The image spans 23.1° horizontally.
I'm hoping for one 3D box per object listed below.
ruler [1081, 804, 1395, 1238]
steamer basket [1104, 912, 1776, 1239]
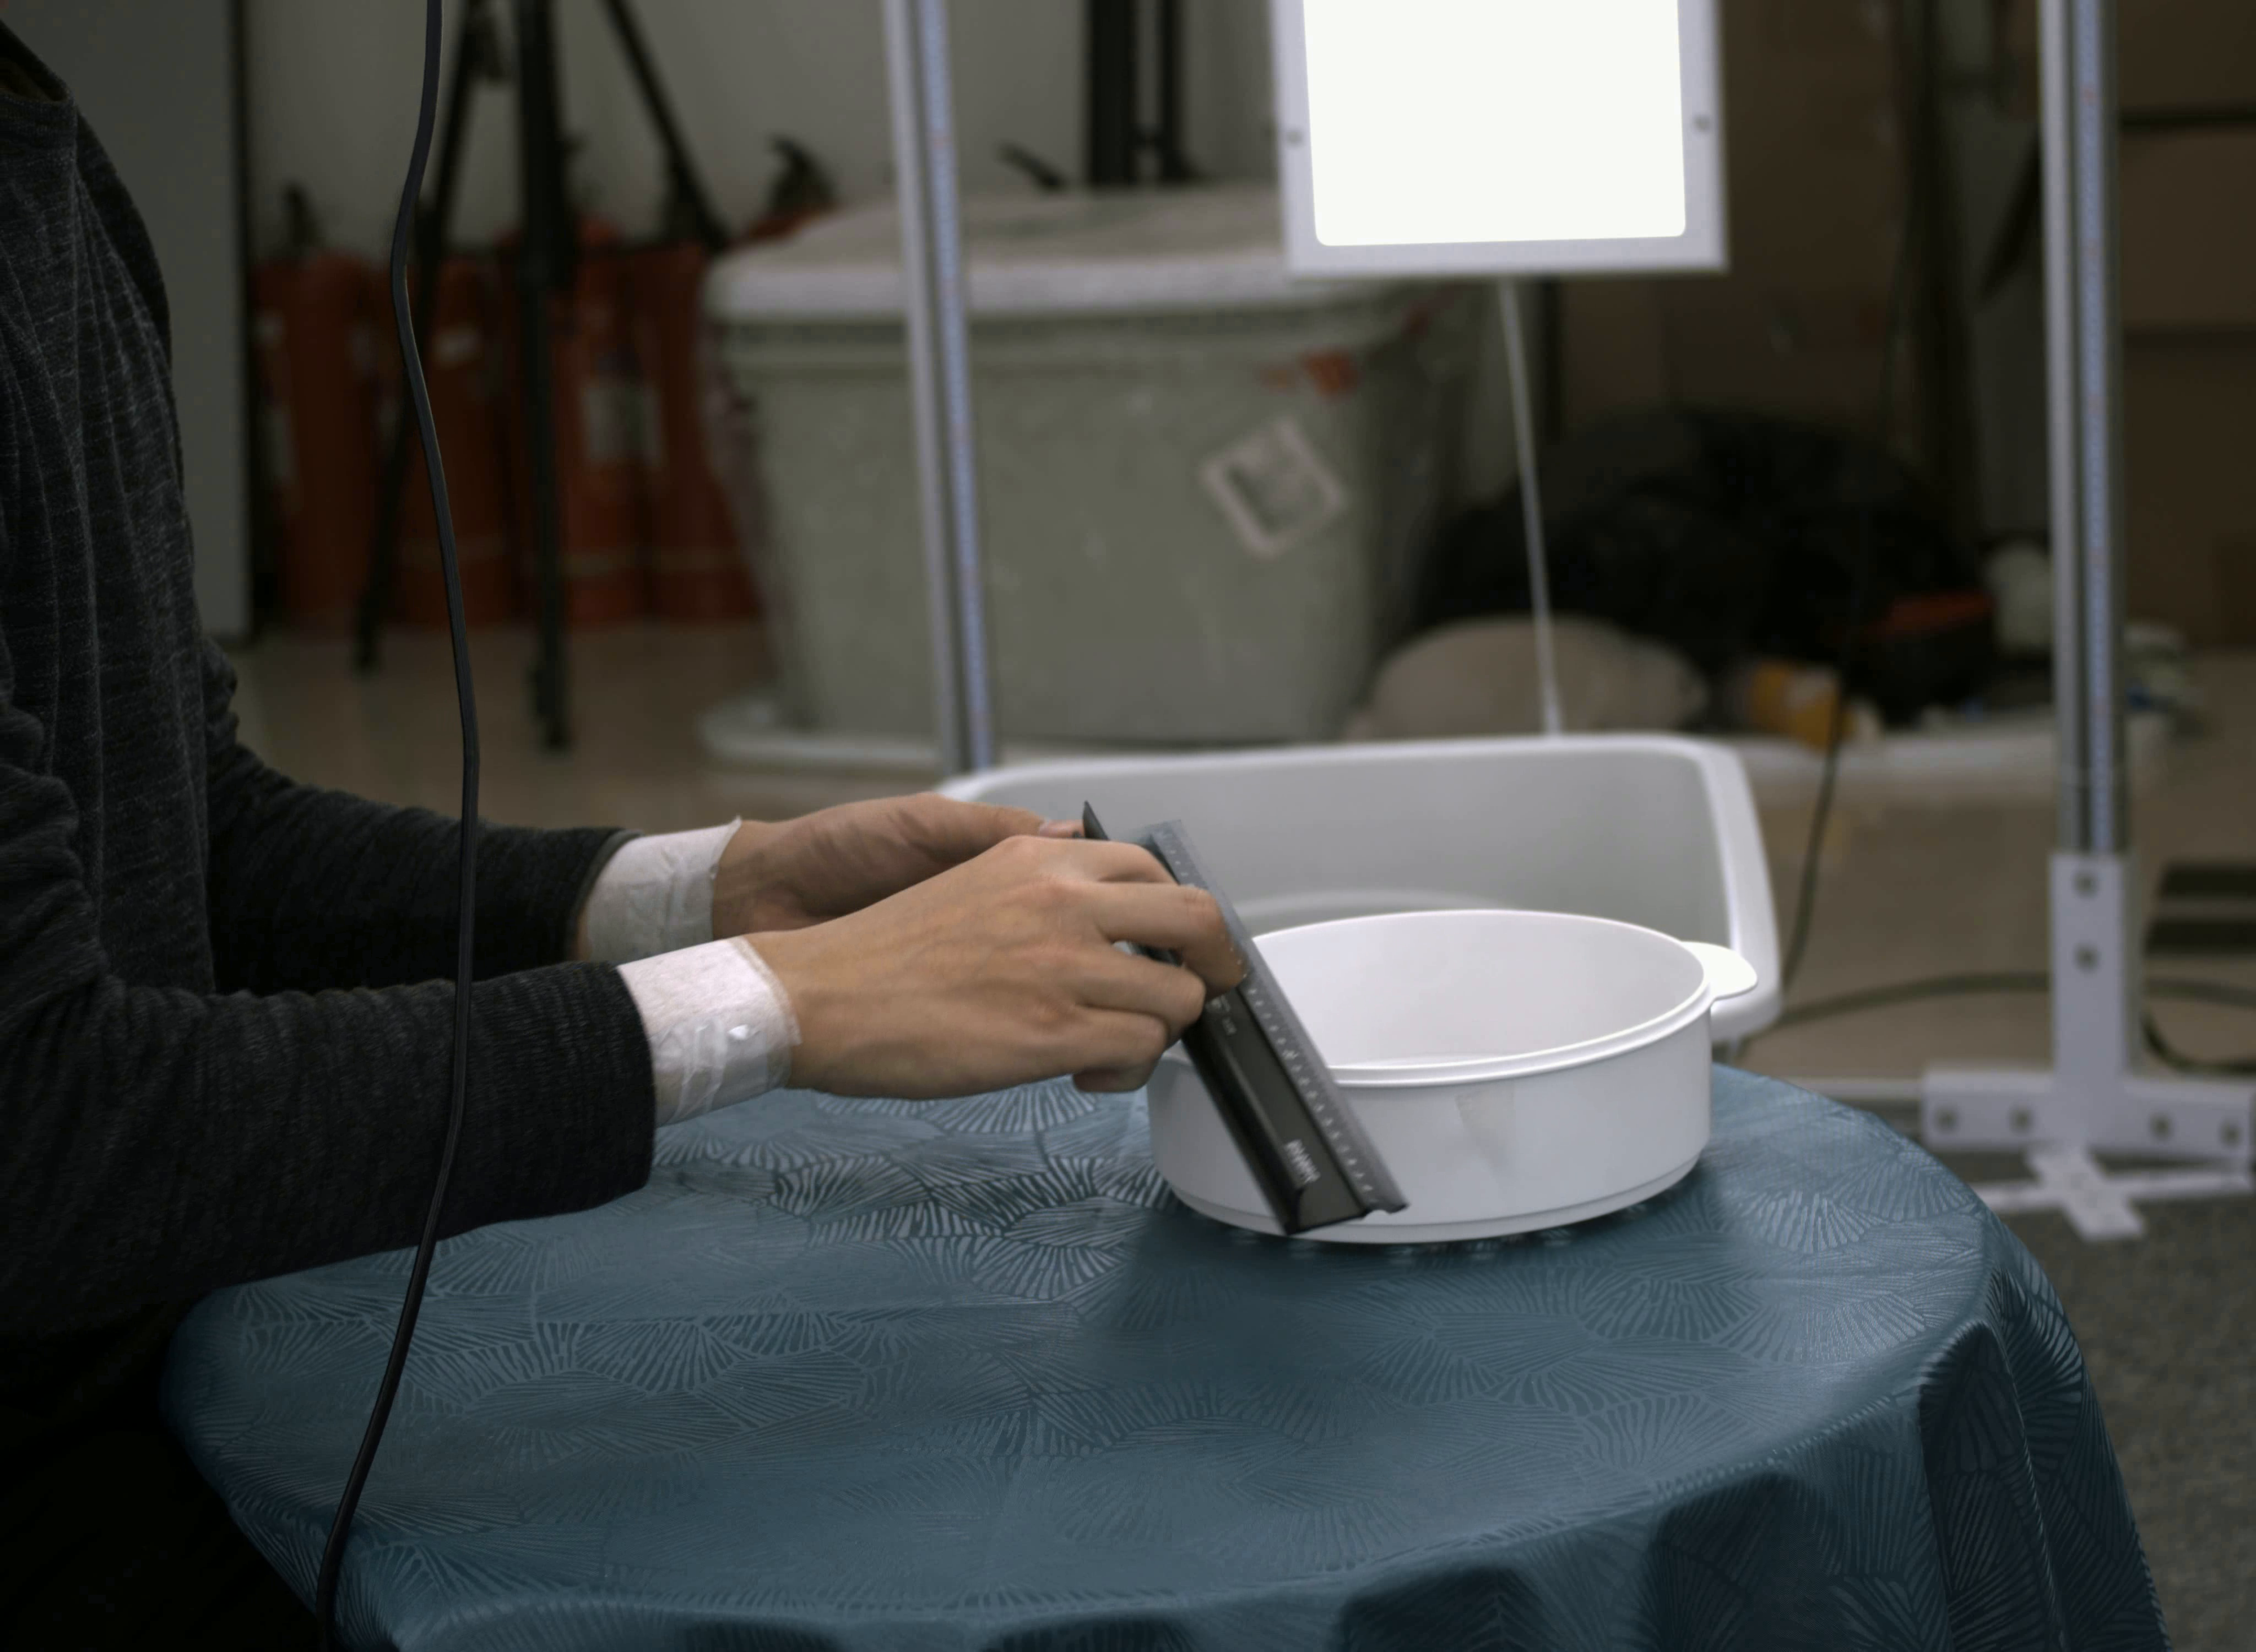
[{"bbox_3d":[0.031,0.053,1.733,0.039,0.017,0.314,-10,23,-8],"label":"ruler"},{"bbox_3d":[0.108,0.085,1.883,0.229,0.069,0.202,-4,13,-6],"label":"steamer basket"}]
